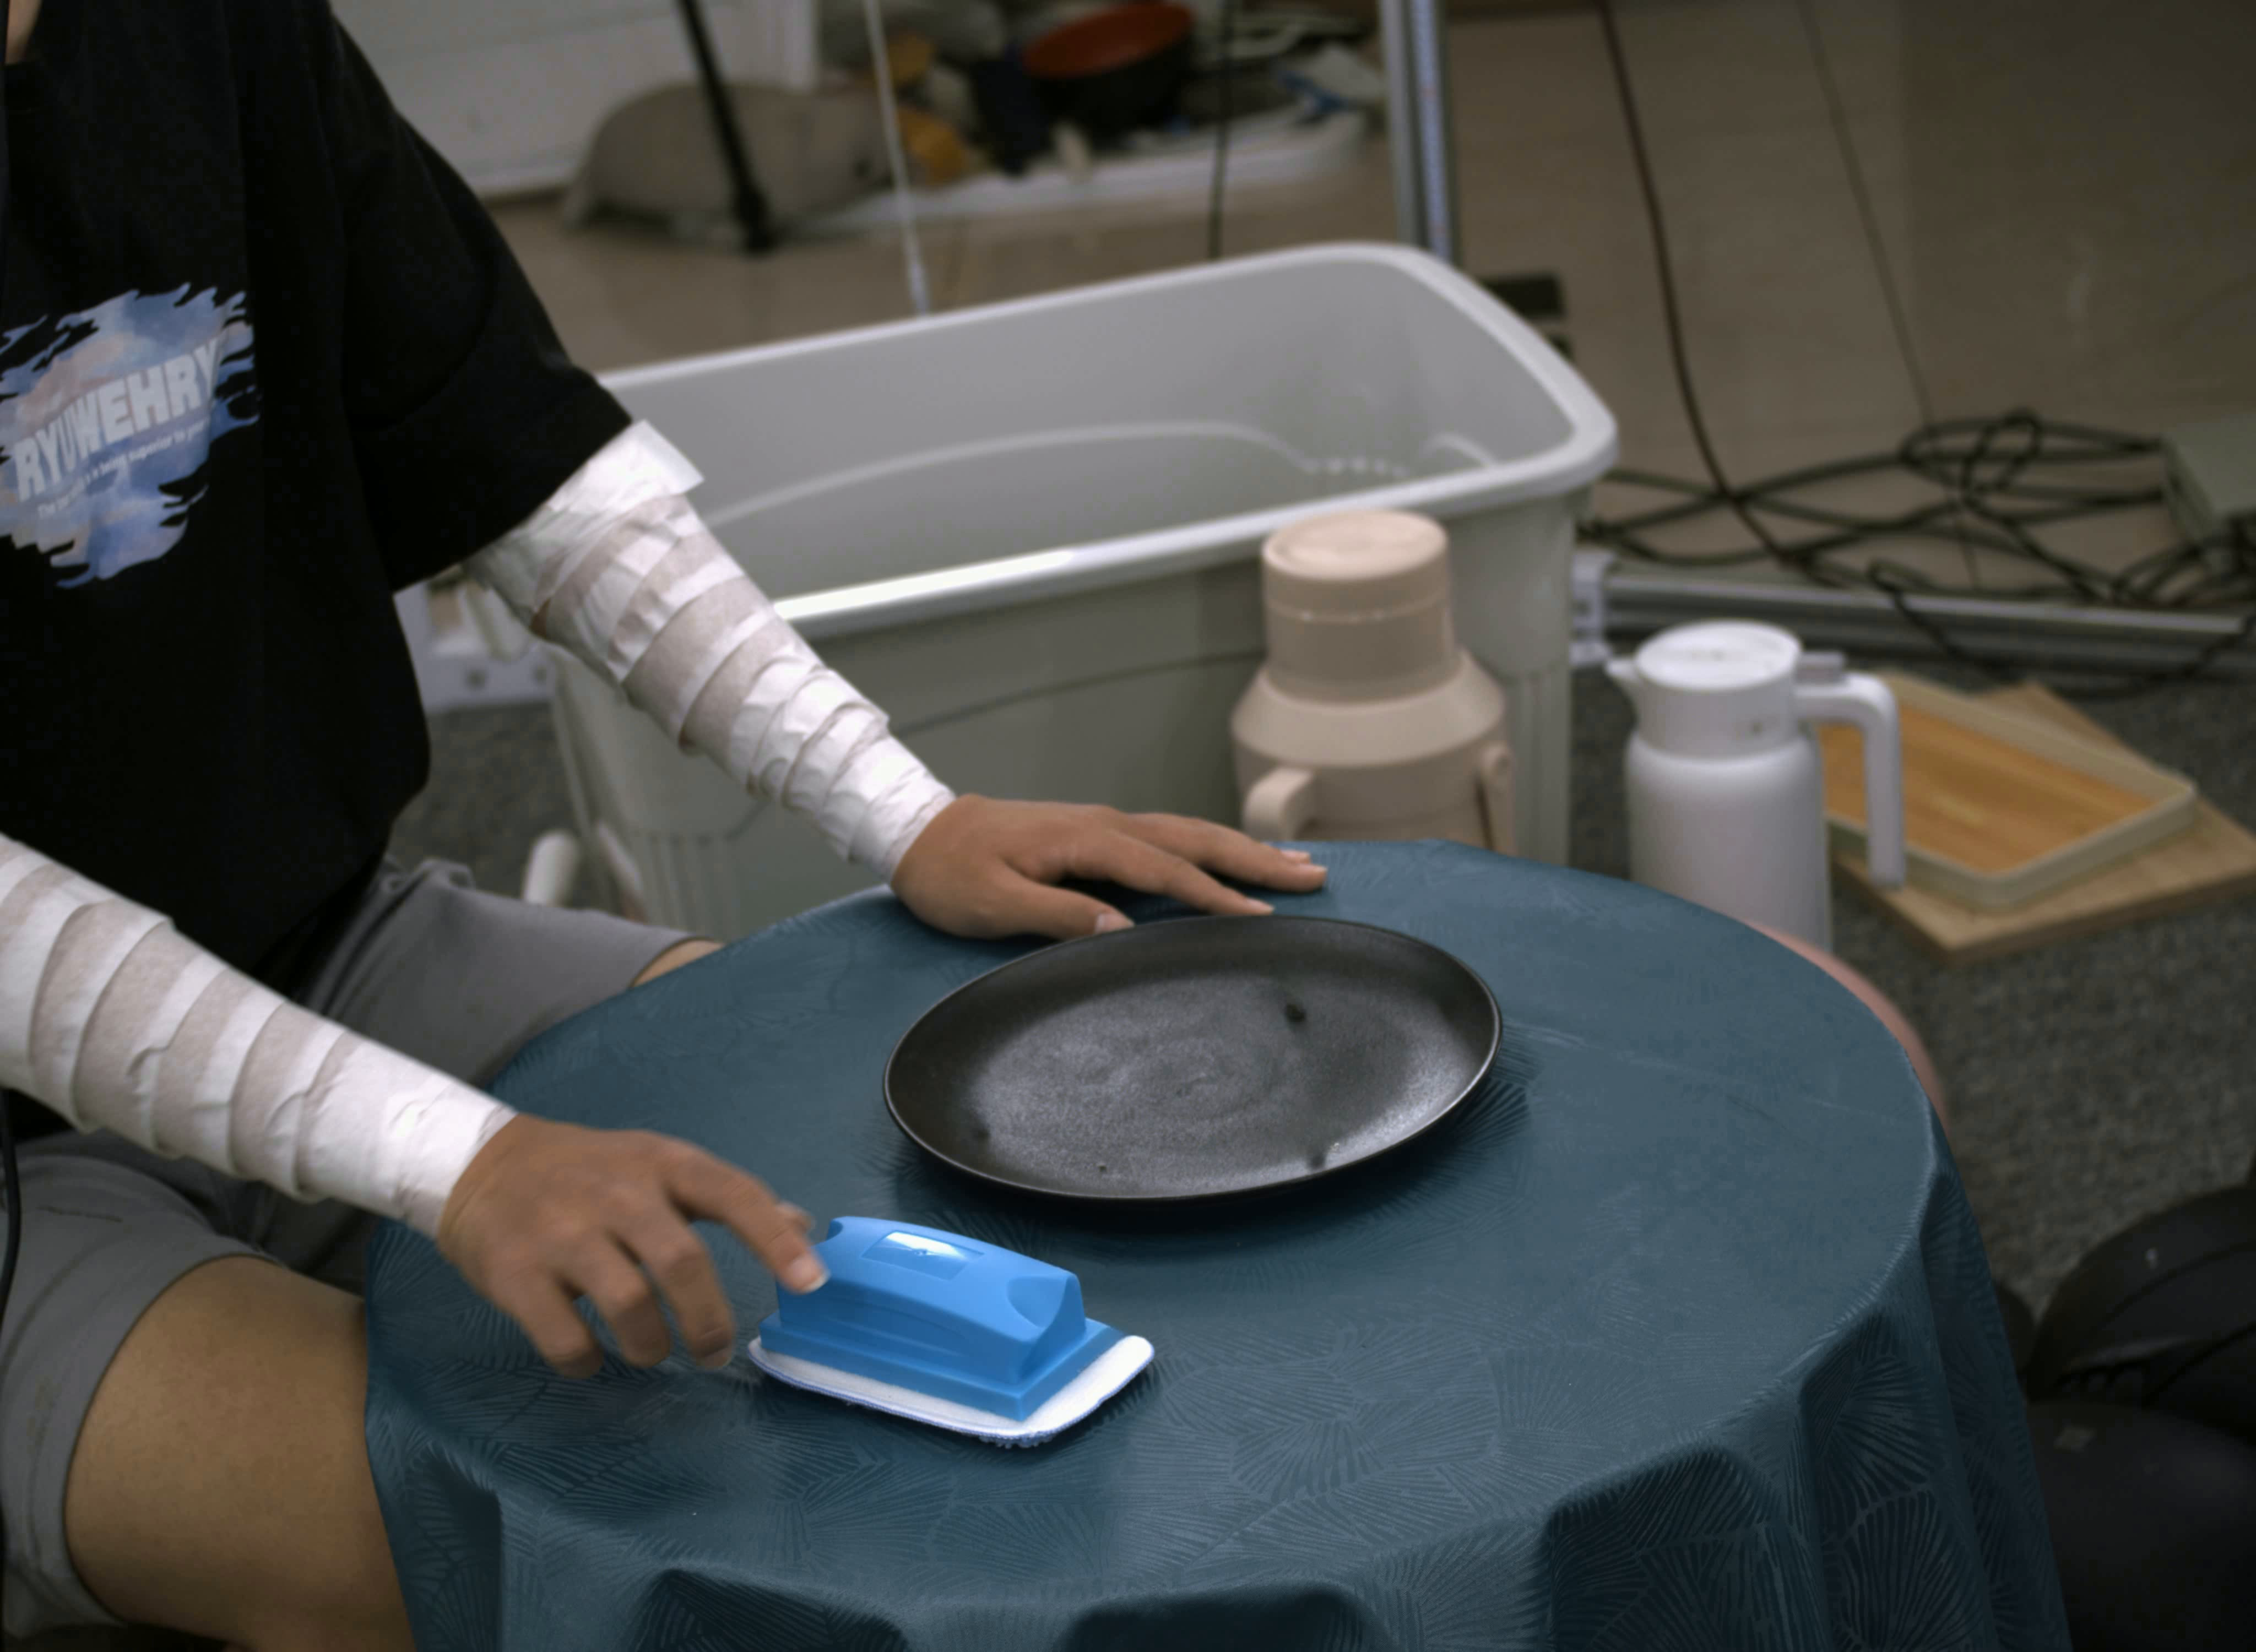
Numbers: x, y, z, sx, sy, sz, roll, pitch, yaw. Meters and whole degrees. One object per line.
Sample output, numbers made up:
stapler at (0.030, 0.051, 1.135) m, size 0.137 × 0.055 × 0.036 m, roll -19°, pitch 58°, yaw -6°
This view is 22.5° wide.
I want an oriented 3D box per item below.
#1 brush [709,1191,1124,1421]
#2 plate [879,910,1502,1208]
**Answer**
brush at (-0.076, 0.169, 2.026) m, size 0.143 × 0.057 × 0.083 m, roll 14°, pitch 27°, yaw 32°
plate at (0.025, 0.096, 2.206) m, size 0.244 × 0.024 × 0.241 m, roll -5°, pitch 25°, yaw 3°
